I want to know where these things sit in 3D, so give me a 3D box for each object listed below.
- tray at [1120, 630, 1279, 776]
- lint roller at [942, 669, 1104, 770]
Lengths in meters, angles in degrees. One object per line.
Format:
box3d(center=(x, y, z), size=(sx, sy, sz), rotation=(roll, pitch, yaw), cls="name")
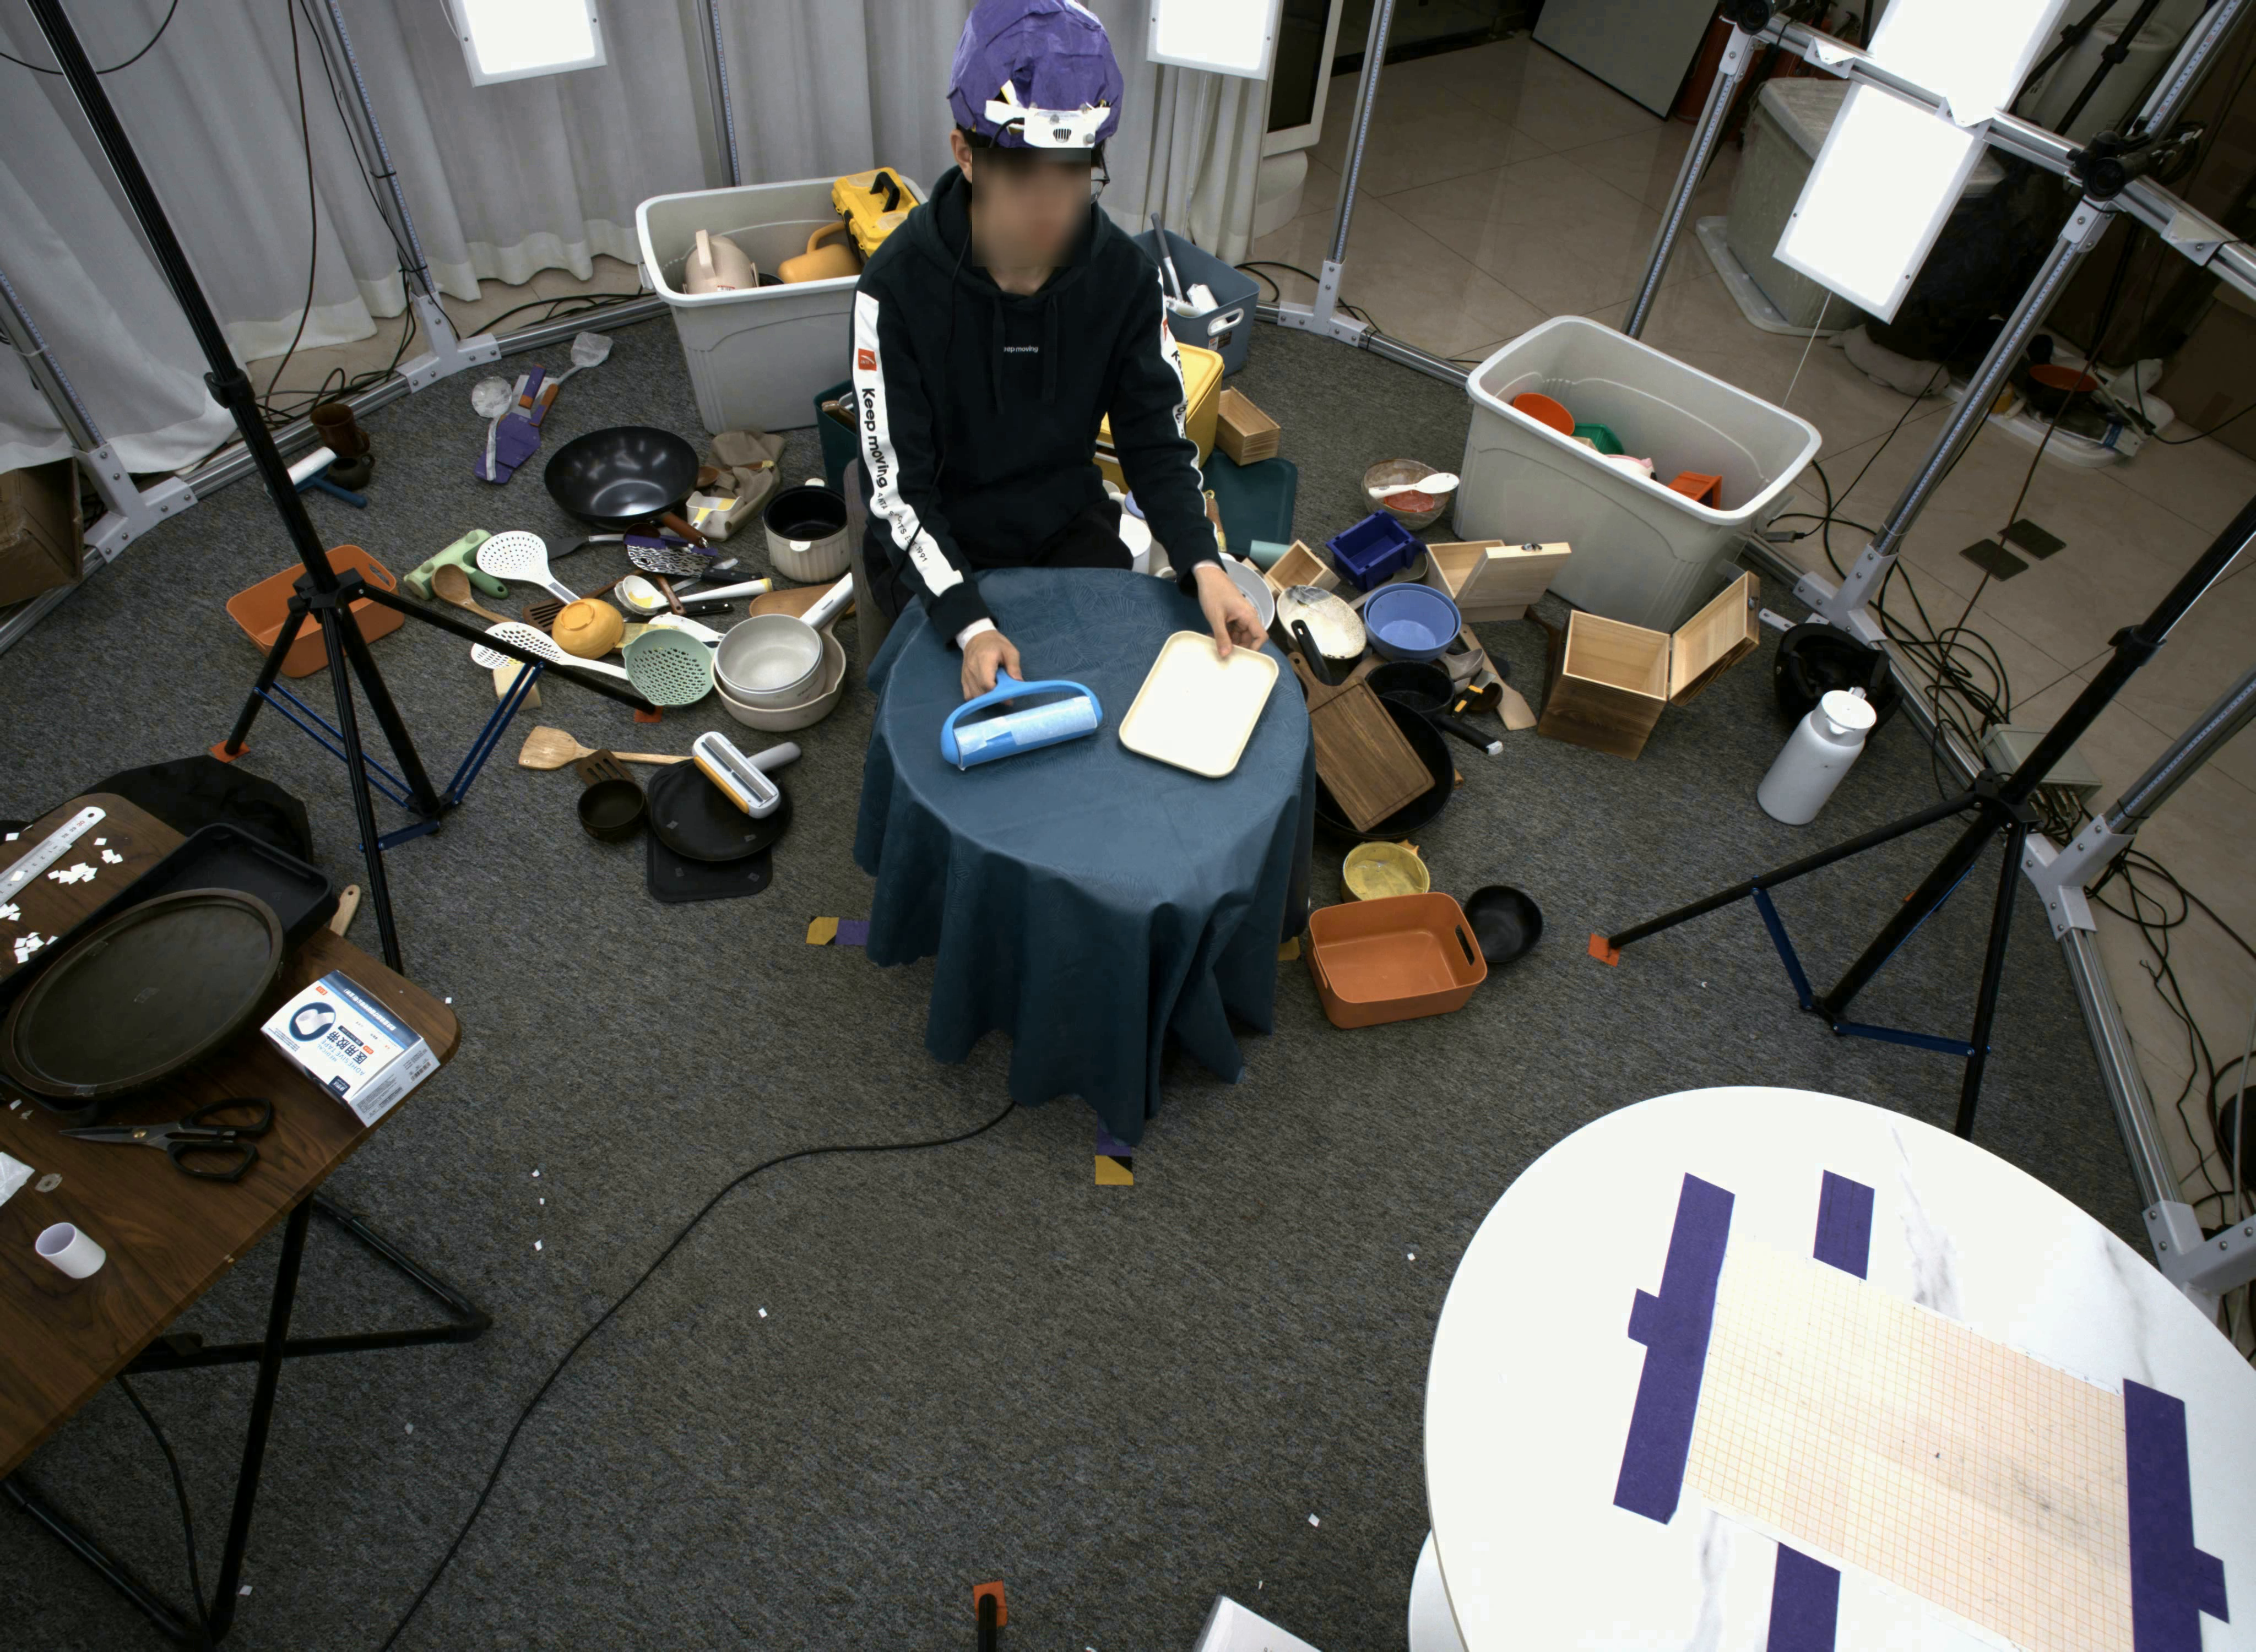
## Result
box3d(center=(0.103, -0.174, 1.803), size=(0.172, 0.017, 0.244), rotation=(19, 55, 13), cls="tray")
box3d(center=(-0.165, -0.170, 1.768), size=(0.229, 0.066, 0.184), rotation=(-19, 54, -17), cls="lint roller")
